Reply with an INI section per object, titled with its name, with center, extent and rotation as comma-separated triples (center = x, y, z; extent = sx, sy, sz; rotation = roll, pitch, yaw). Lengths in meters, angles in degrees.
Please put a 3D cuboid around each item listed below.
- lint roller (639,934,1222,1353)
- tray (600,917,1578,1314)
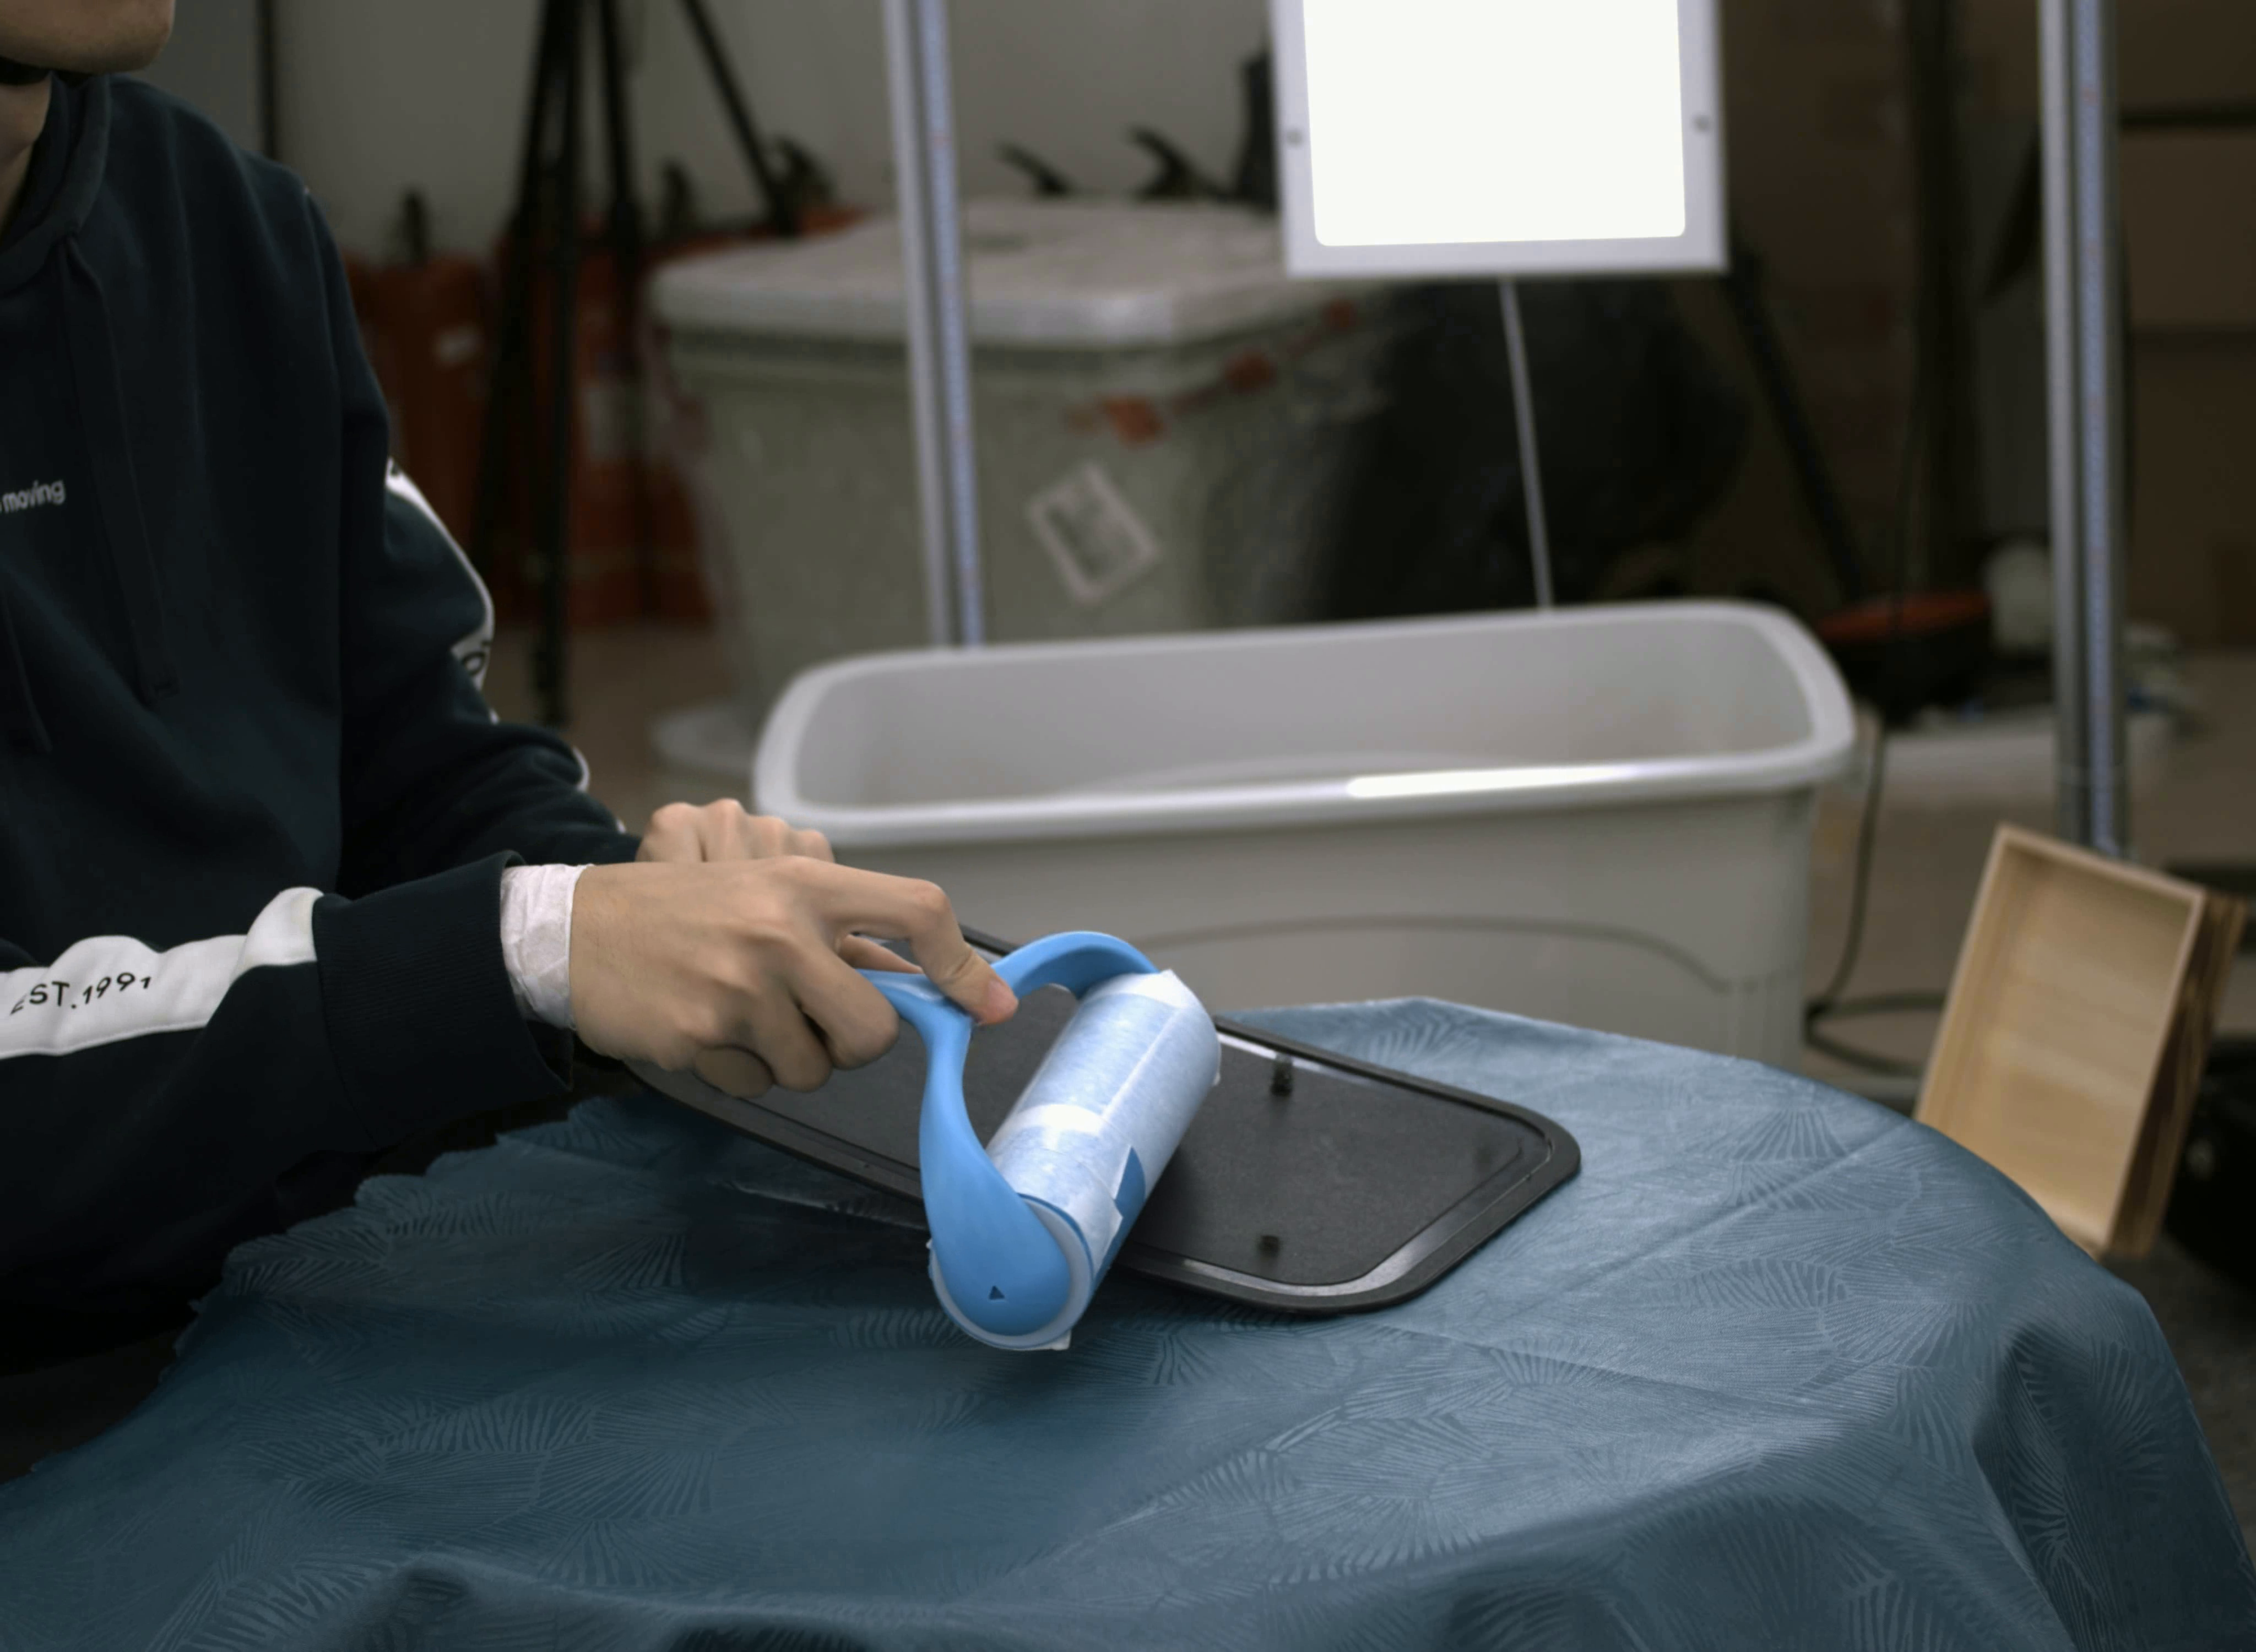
[lint roller]
center = -0.068, 0.083, 1.789
extent = 0.180, 0.069, 0.226
rotation = 22, 24, 3
[tray]
center = -0.019, 0.092, 1.885
extent = 0.330, 0.010, 0.206
rotation = 17, 23, 25
